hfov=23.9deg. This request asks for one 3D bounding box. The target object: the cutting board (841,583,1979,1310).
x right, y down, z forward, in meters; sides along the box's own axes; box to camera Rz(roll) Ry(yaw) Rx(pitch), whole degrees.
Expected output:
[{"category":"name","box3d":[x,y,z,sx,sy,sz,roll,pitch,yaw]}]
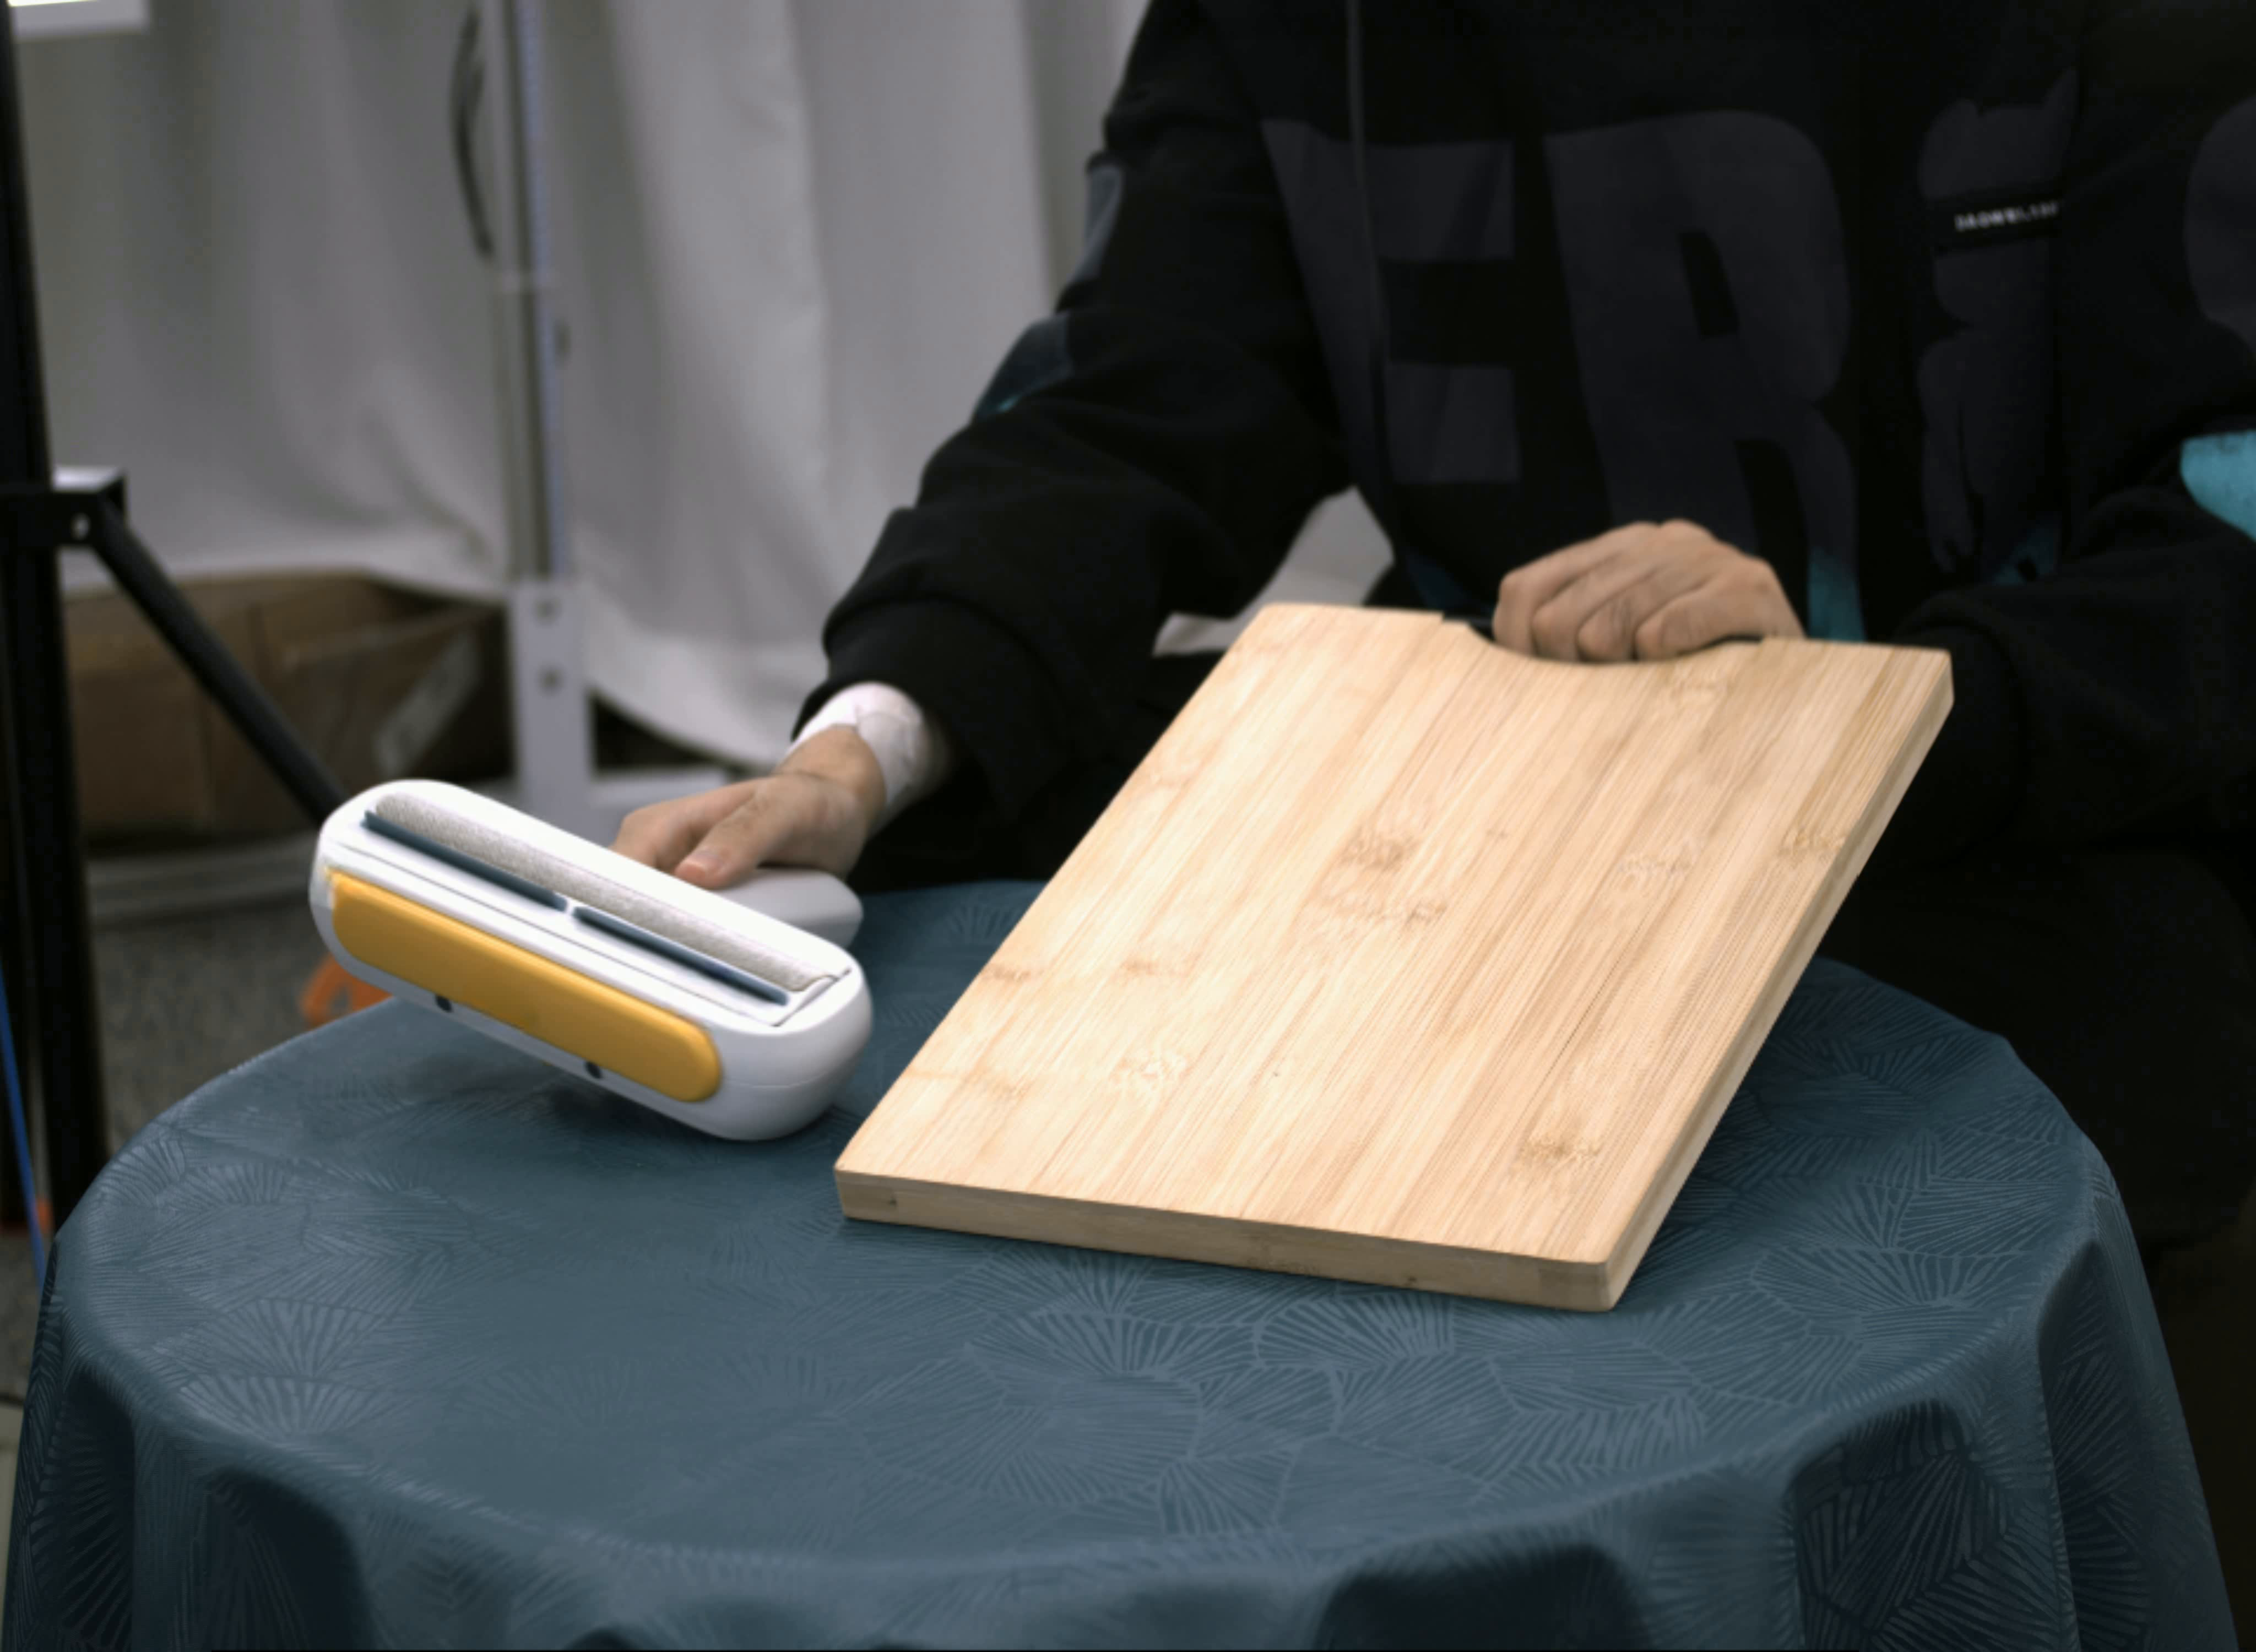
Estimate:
[{"category":"cutting board","box3d":[0.093,0.026,1.623,0.254,0.023,0.346,5,34,25]}]

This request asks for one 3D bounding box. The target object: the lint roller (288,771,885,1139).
[{"category":"lint roller","box3d":[-0.145,0.031,1.710,0.196,0.074,0.188,19,25,31]}]
